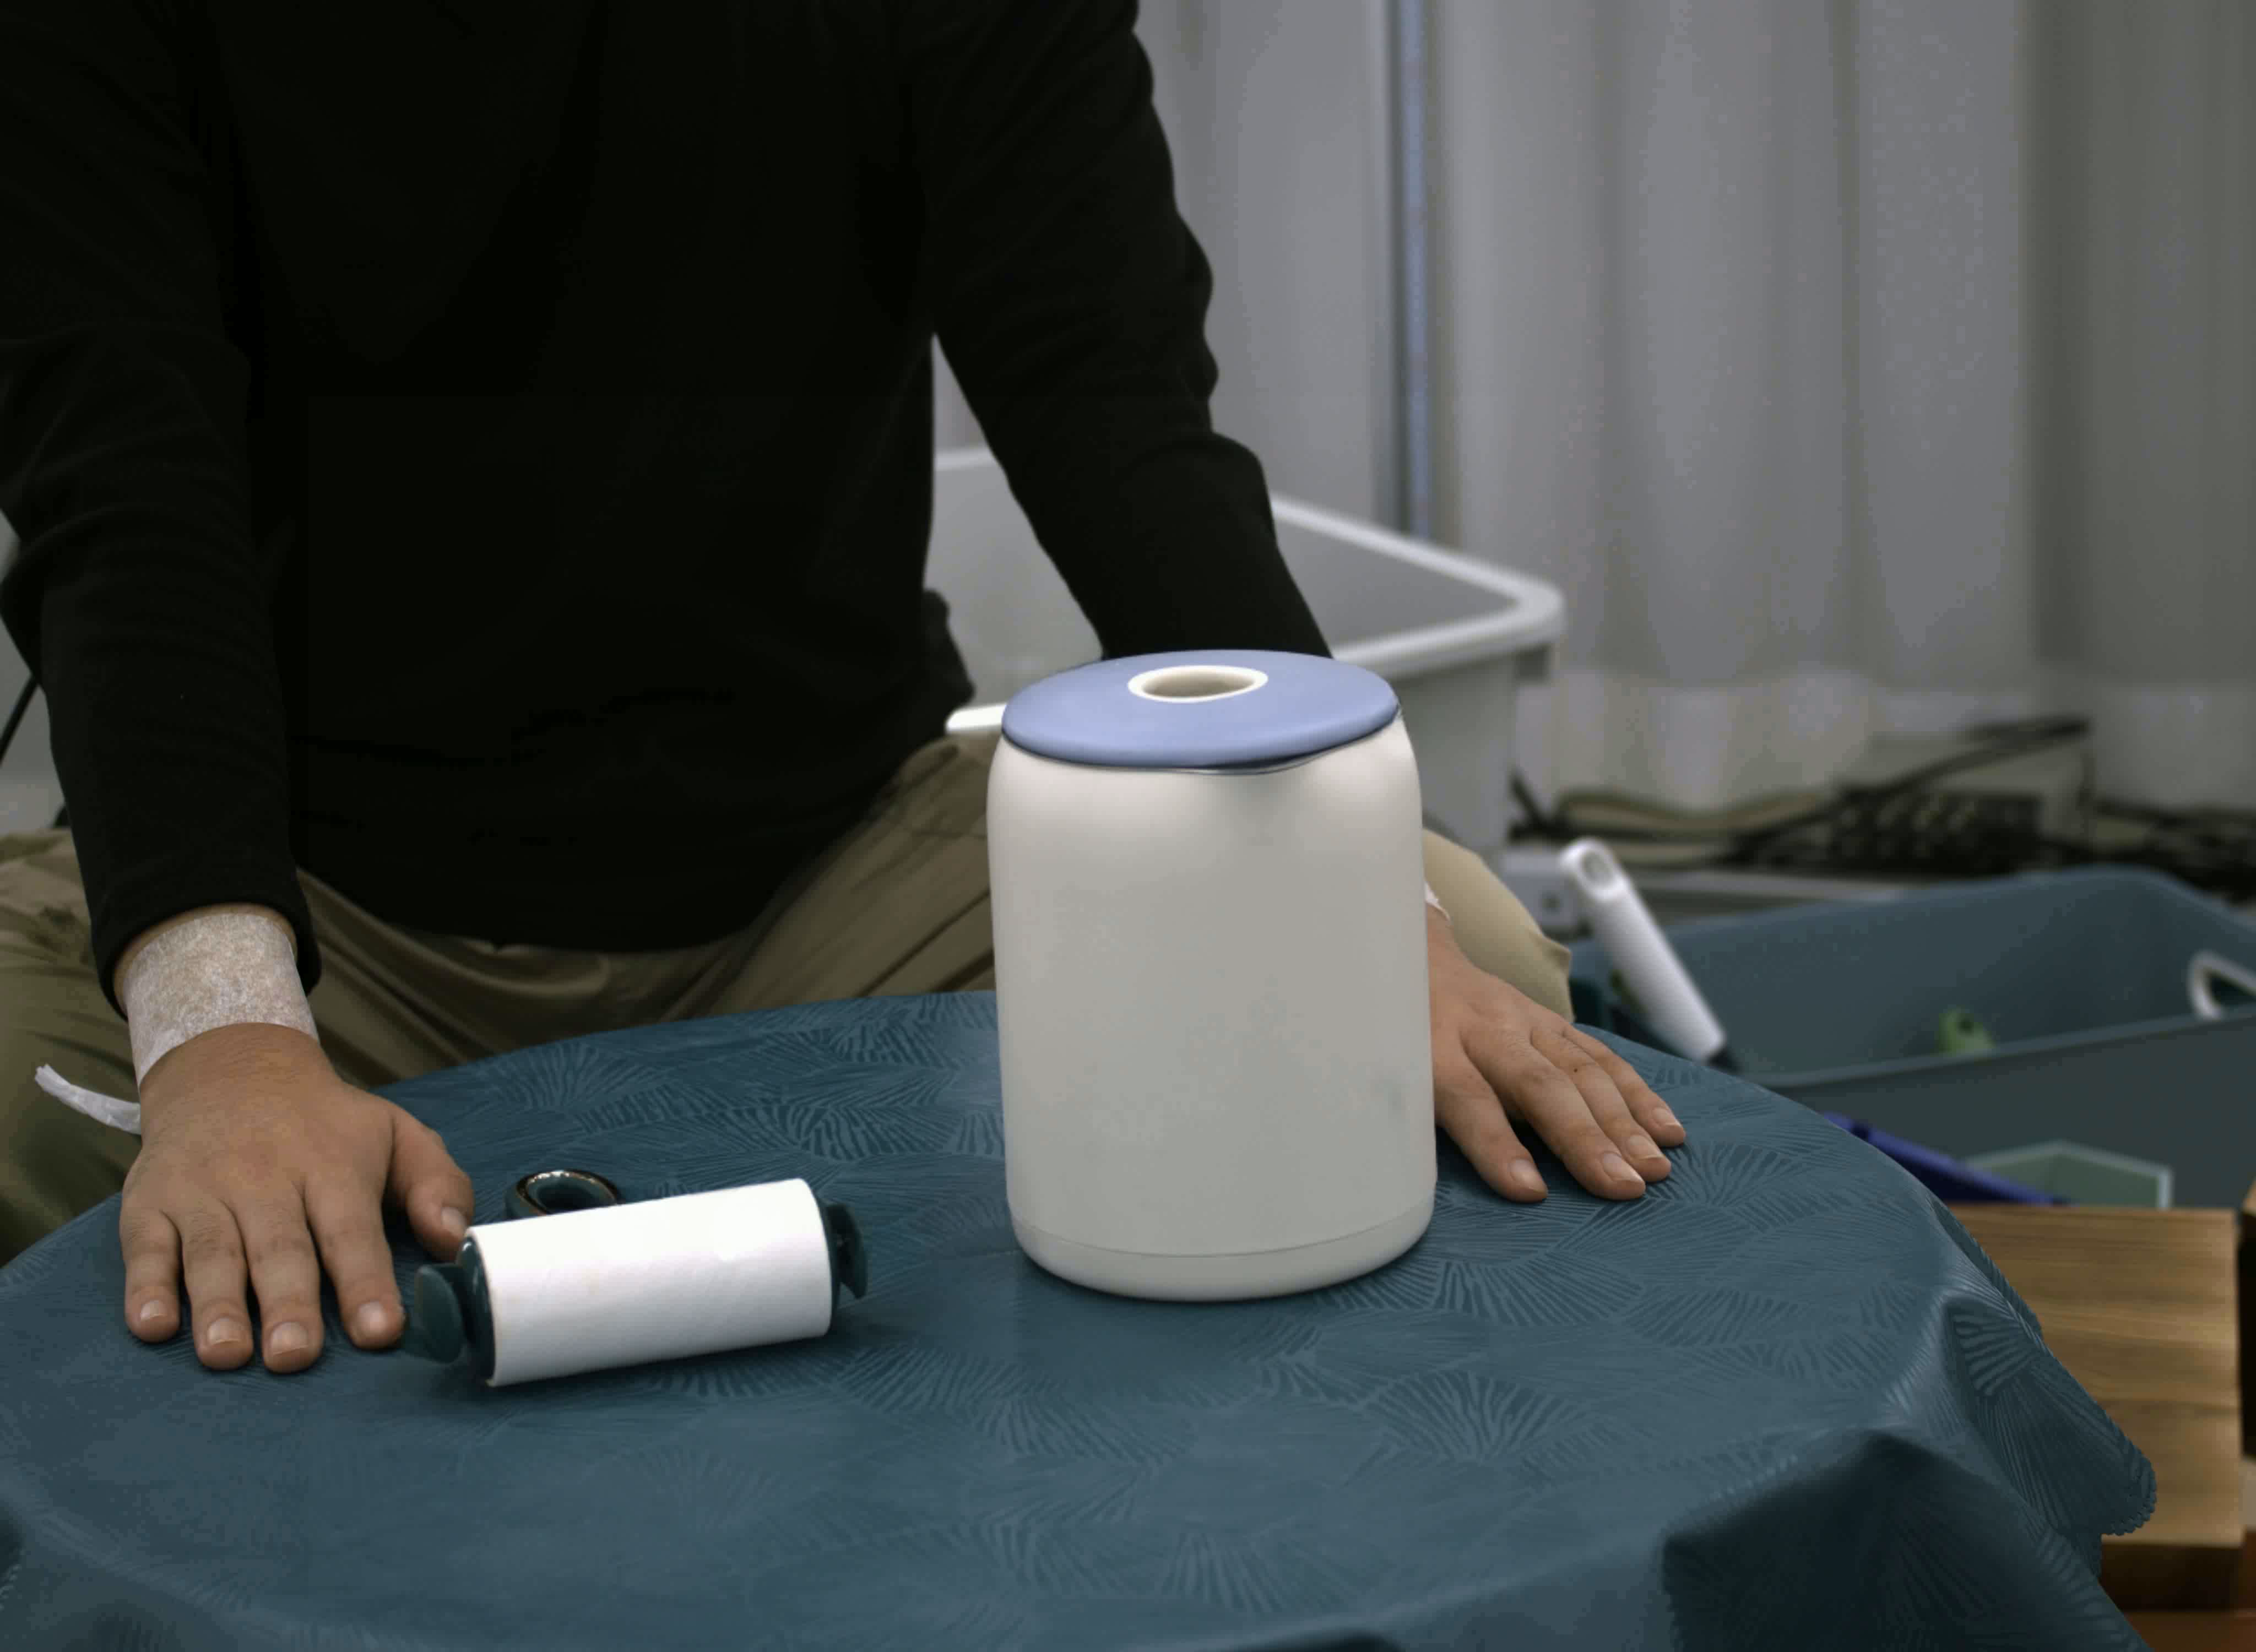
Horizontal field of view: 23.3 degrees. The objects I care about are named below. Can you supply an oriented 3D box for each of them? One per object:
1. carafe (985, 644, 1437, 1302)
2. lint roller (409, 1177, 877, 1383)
[{"bbox_3d":[0.018,0.038,1.669,0.131,0.182,0.192,-6,12,-16],"label":"carafe"},{"bbox_3d":[-0.160,0.119,1.648,0.134,0.048,0.181,-7,13,-16],"label":"lint roller"}]
